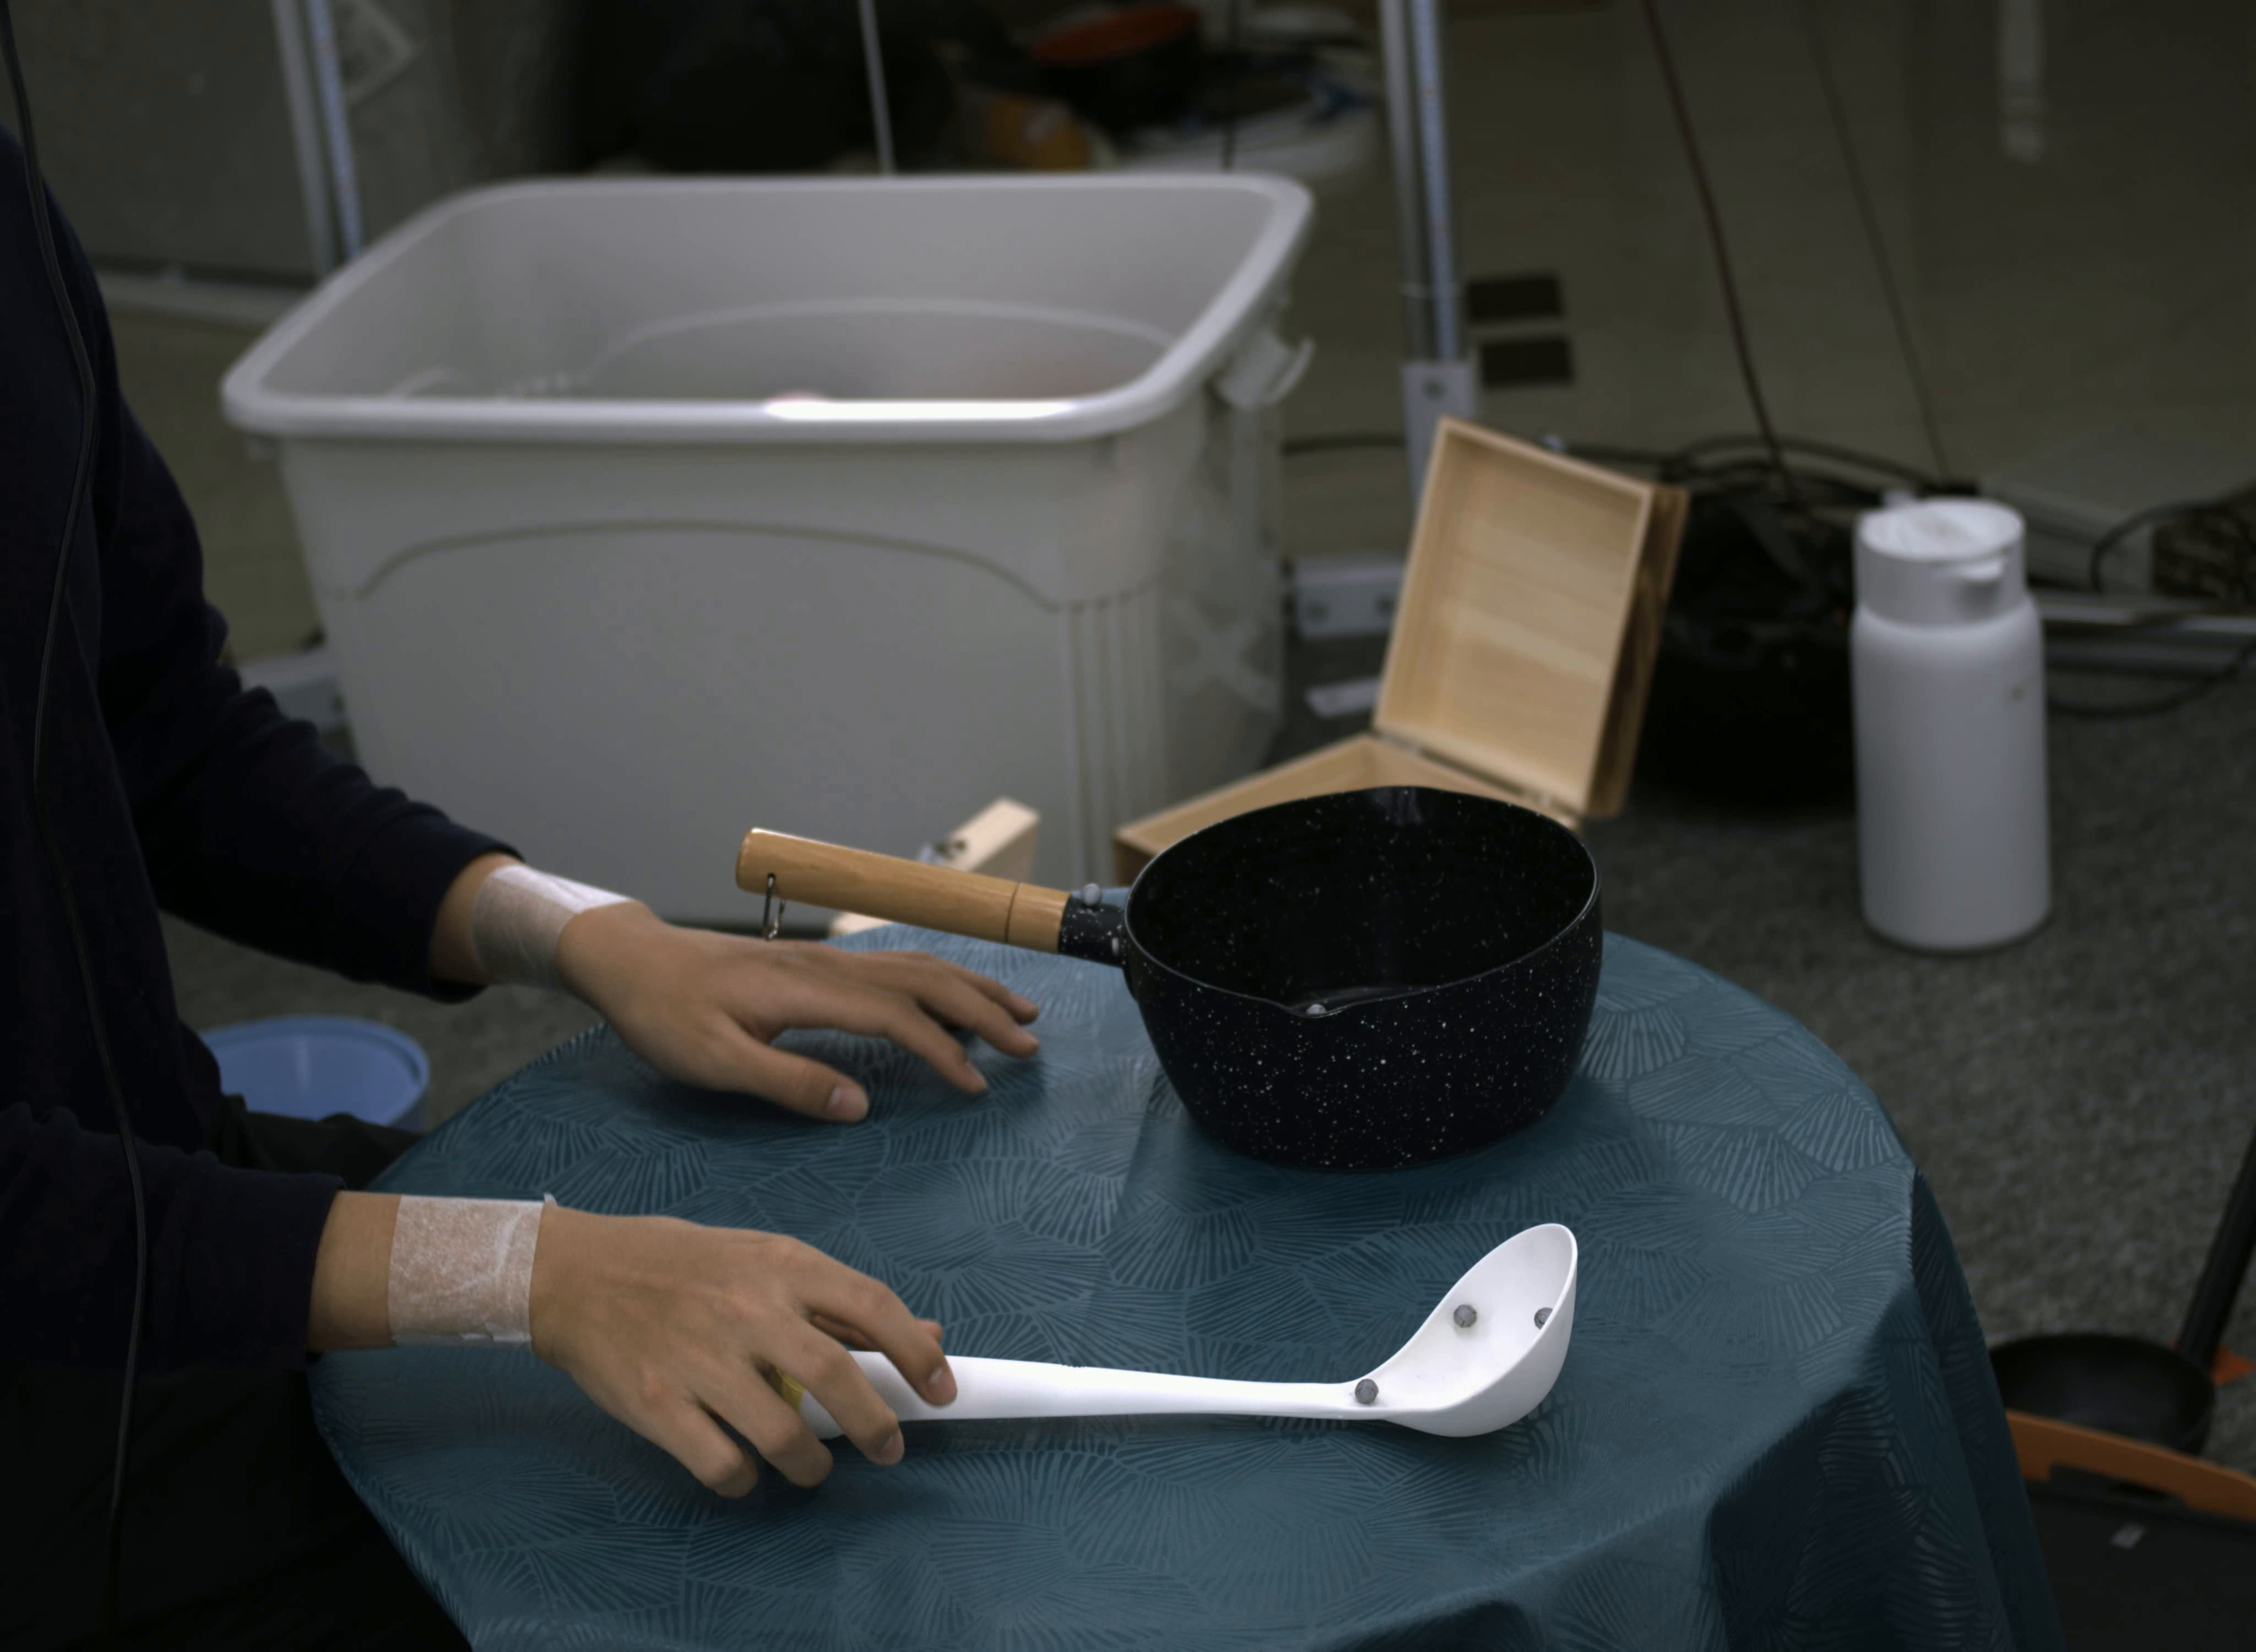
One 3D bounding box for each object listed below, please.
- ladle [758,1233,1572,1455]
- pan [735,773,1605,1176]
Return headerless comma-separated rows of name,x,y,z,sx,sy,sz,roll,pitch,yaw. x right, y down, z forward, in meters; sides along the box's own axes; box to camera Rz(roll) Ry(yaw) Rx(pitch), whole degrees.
ladle,0.011,0.186,1.968,0.292,0.071,0.088,-2,38,11
pan,0.015,0.052,2.199,0.342,0.110,0.204,1,27,12
